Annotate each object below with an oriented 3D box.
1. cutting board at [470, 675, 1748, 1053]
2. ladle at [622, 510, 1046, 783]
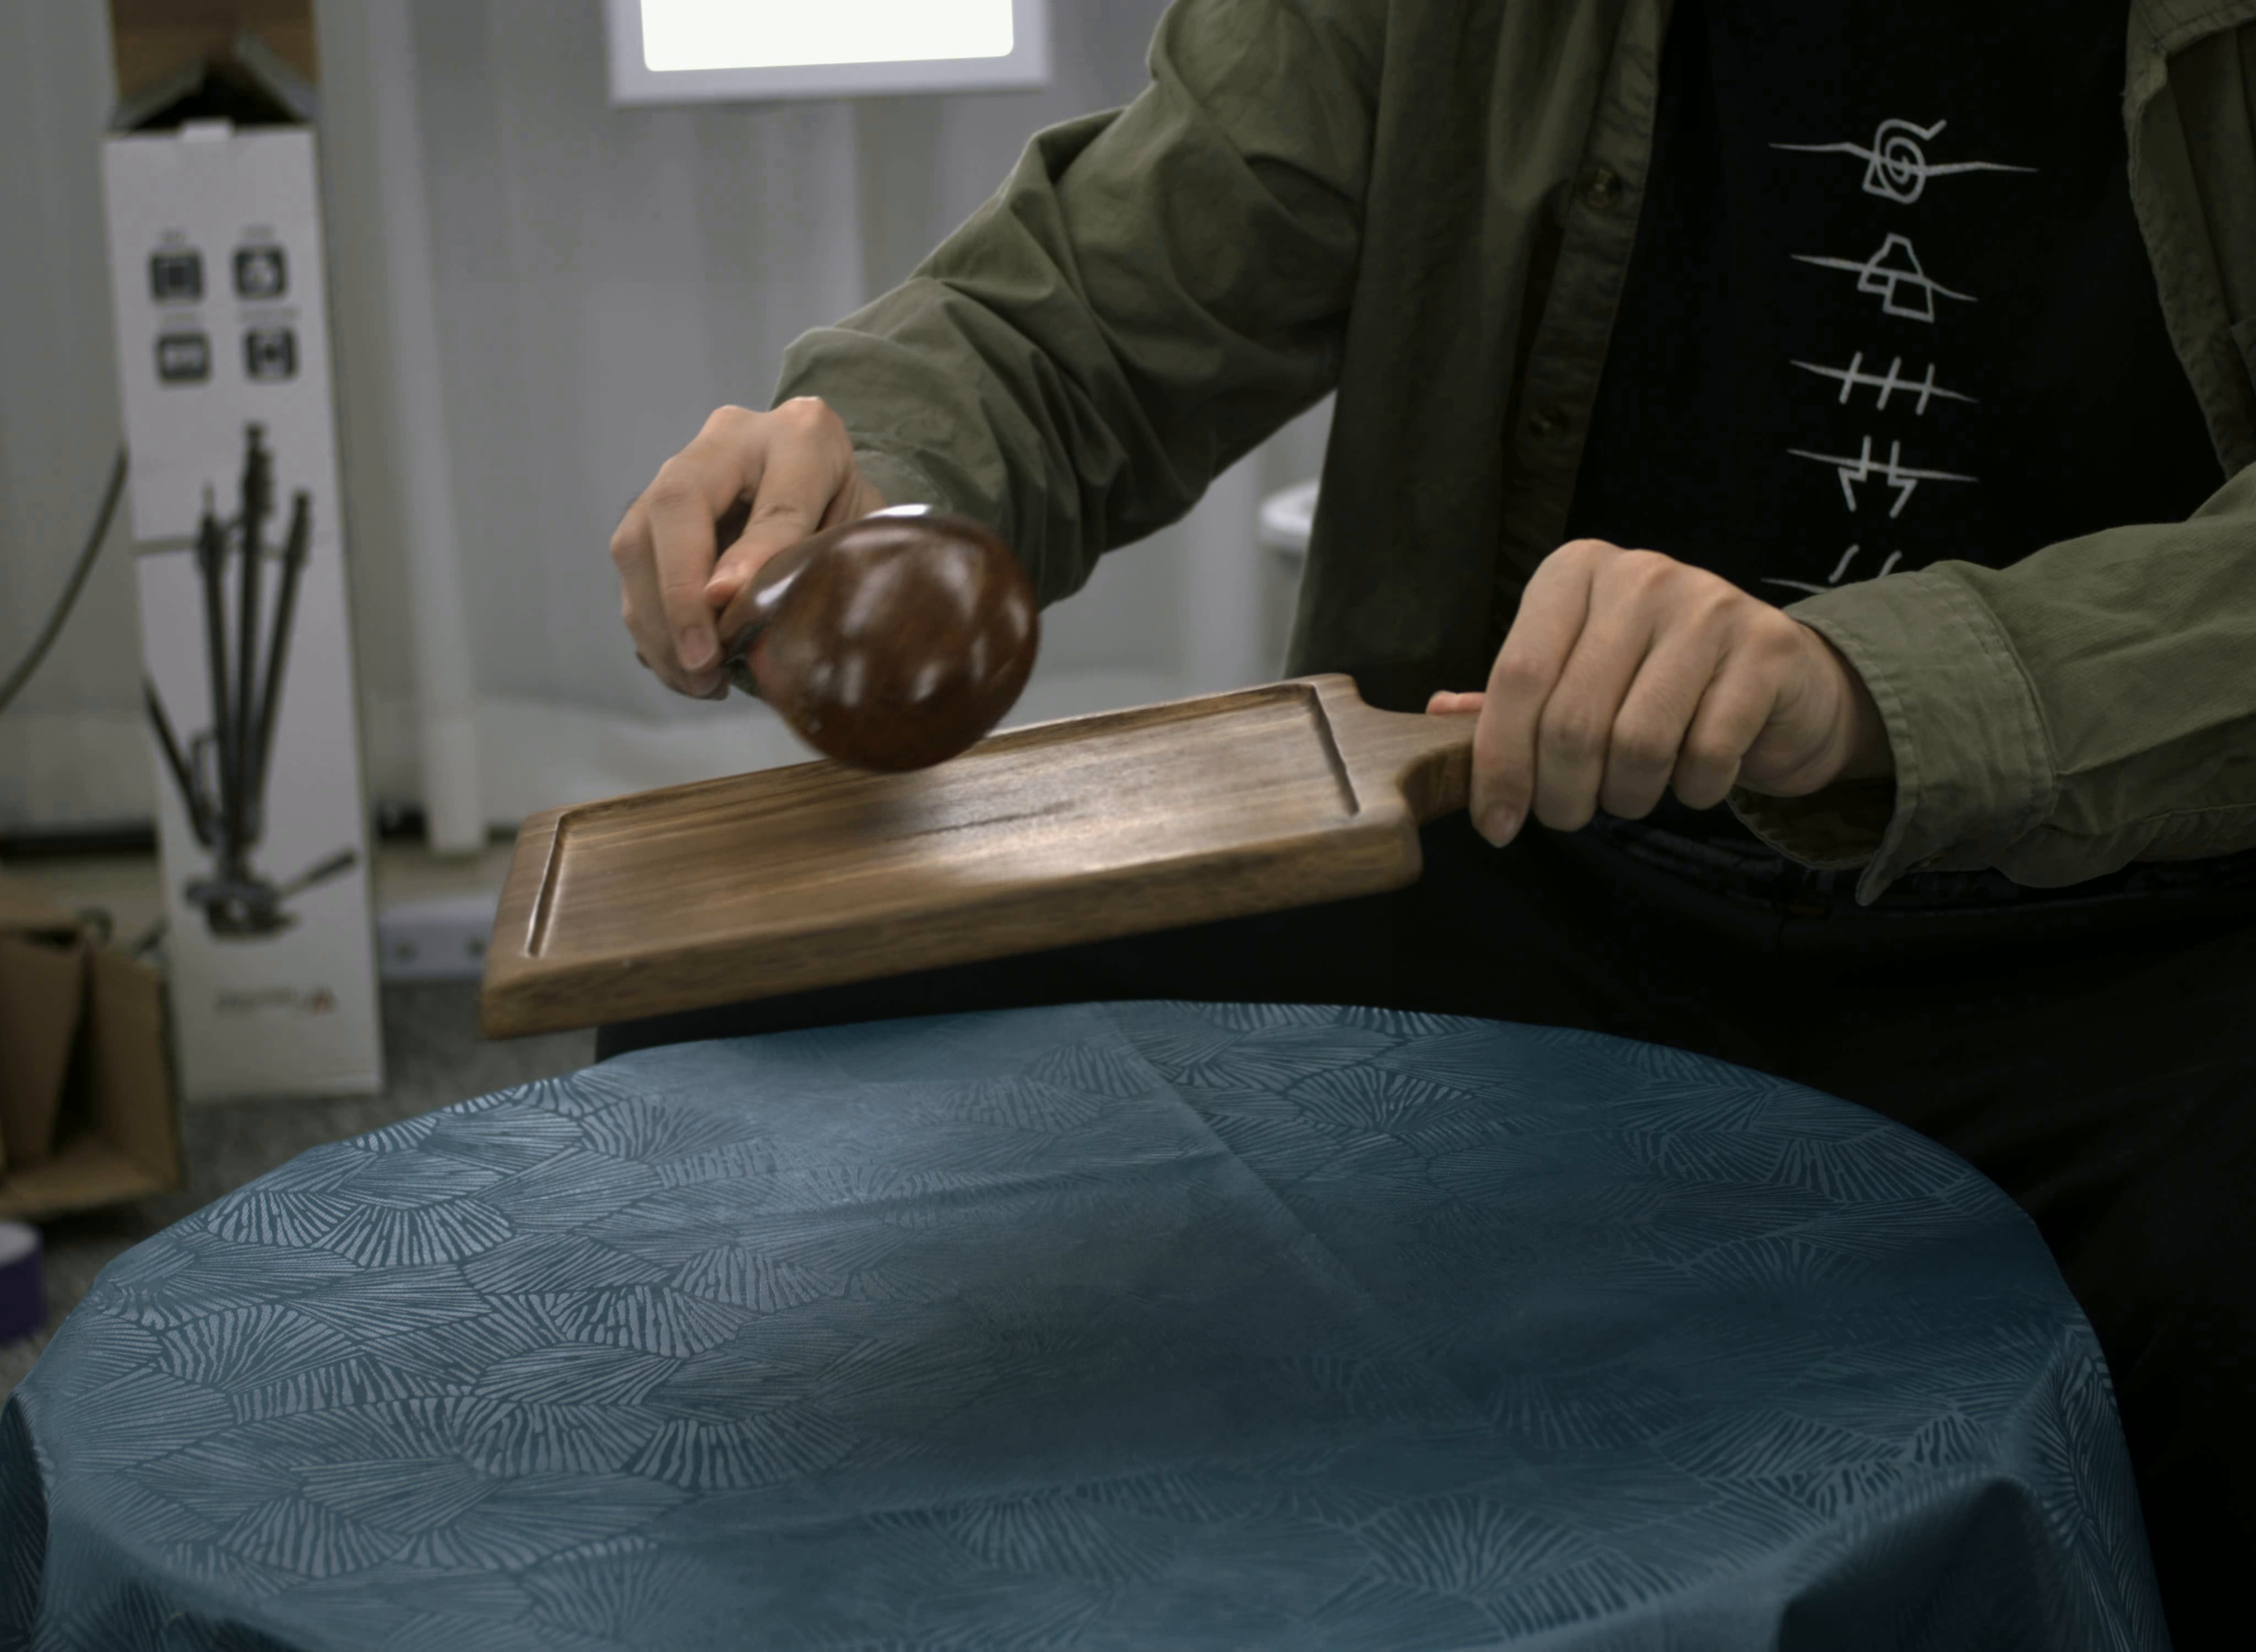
[{"bbox_3d":[-0.003,0.000,1.514,0.351,0.023,0.202,-10,14,1],"label":"cutting board"},{"bbox_3d":[-0.092,-0.049,1.643,0.082,0.076,0.274,-48,9,-13],"label":"ladle"}]
